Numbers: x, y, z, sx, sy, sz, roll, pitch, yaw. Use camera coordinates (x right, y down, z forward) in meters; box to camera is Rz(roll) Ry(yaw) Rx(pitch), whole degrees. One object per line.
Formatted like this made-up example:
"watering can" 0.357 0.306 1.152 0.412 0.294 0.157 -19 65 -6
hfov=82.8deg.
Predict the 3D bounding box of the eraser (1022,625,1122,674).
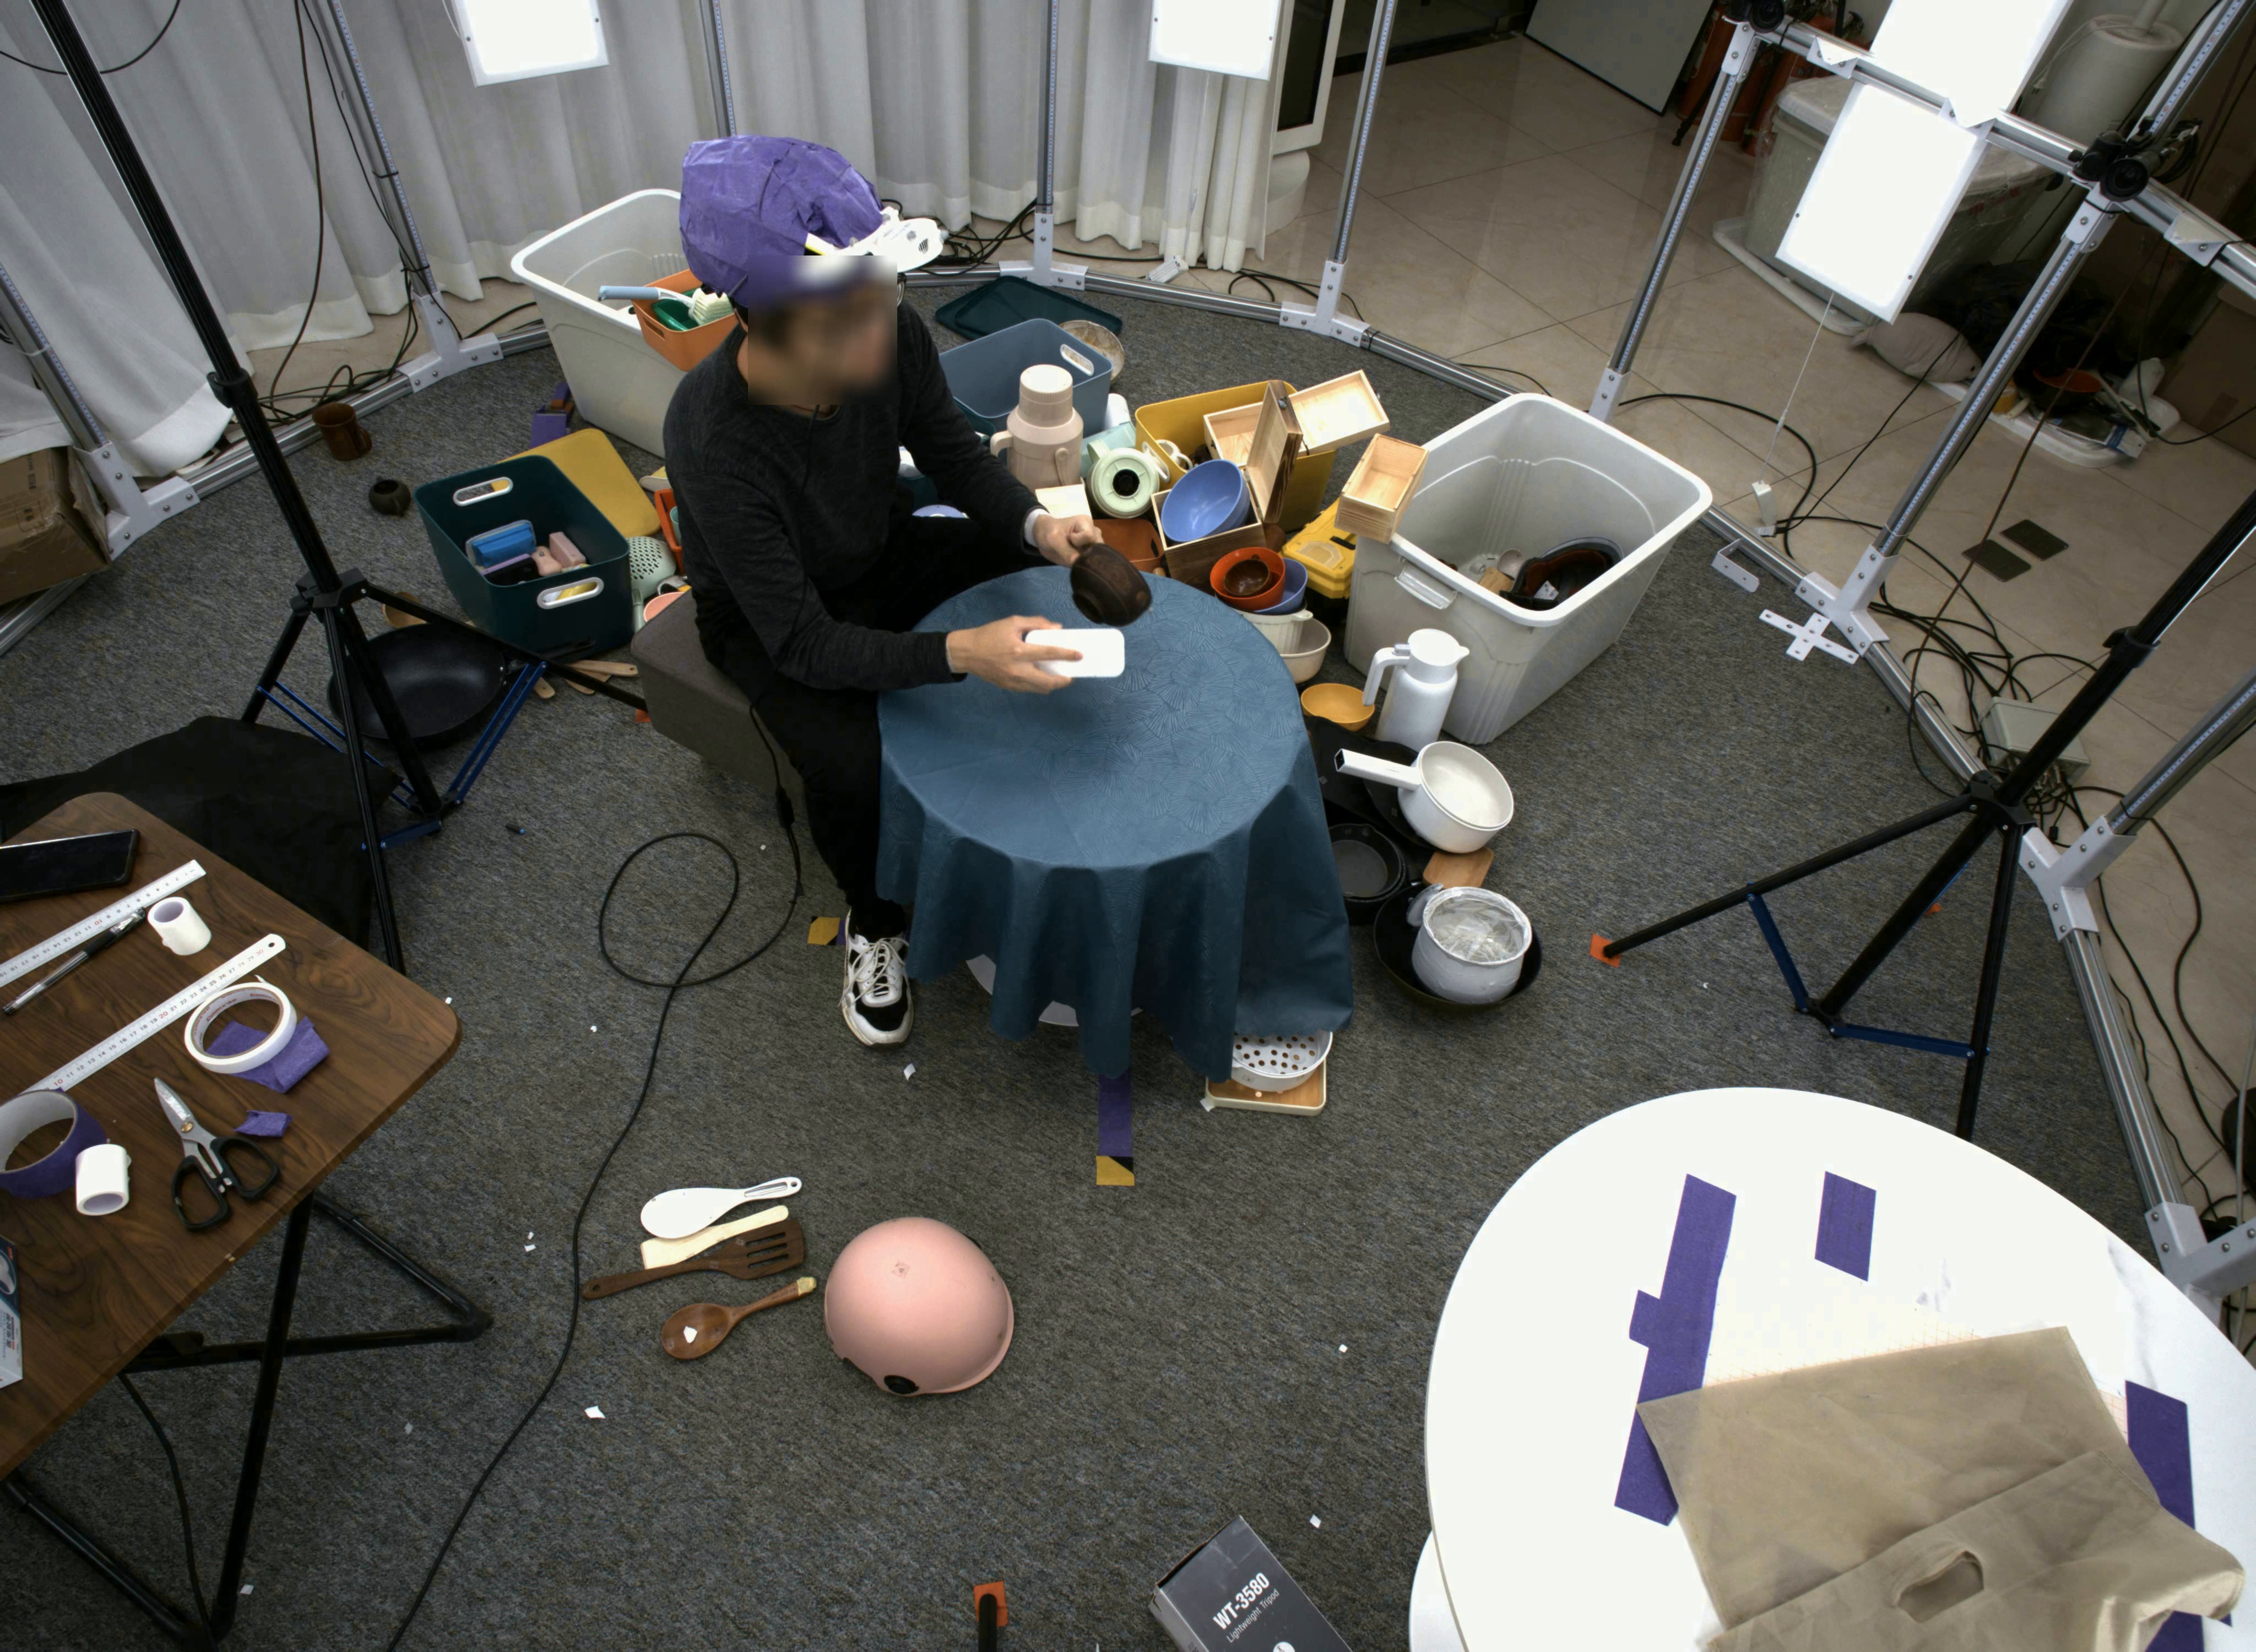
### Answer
"eraser" -0.073 -0.234 1.697 0.131 0.063 0.035 -2 8 -2

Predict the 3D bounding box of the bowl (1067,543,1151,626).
"bowl" -0.034 -0.316 1.735 0.119 0.116 0.070 34 77 22
